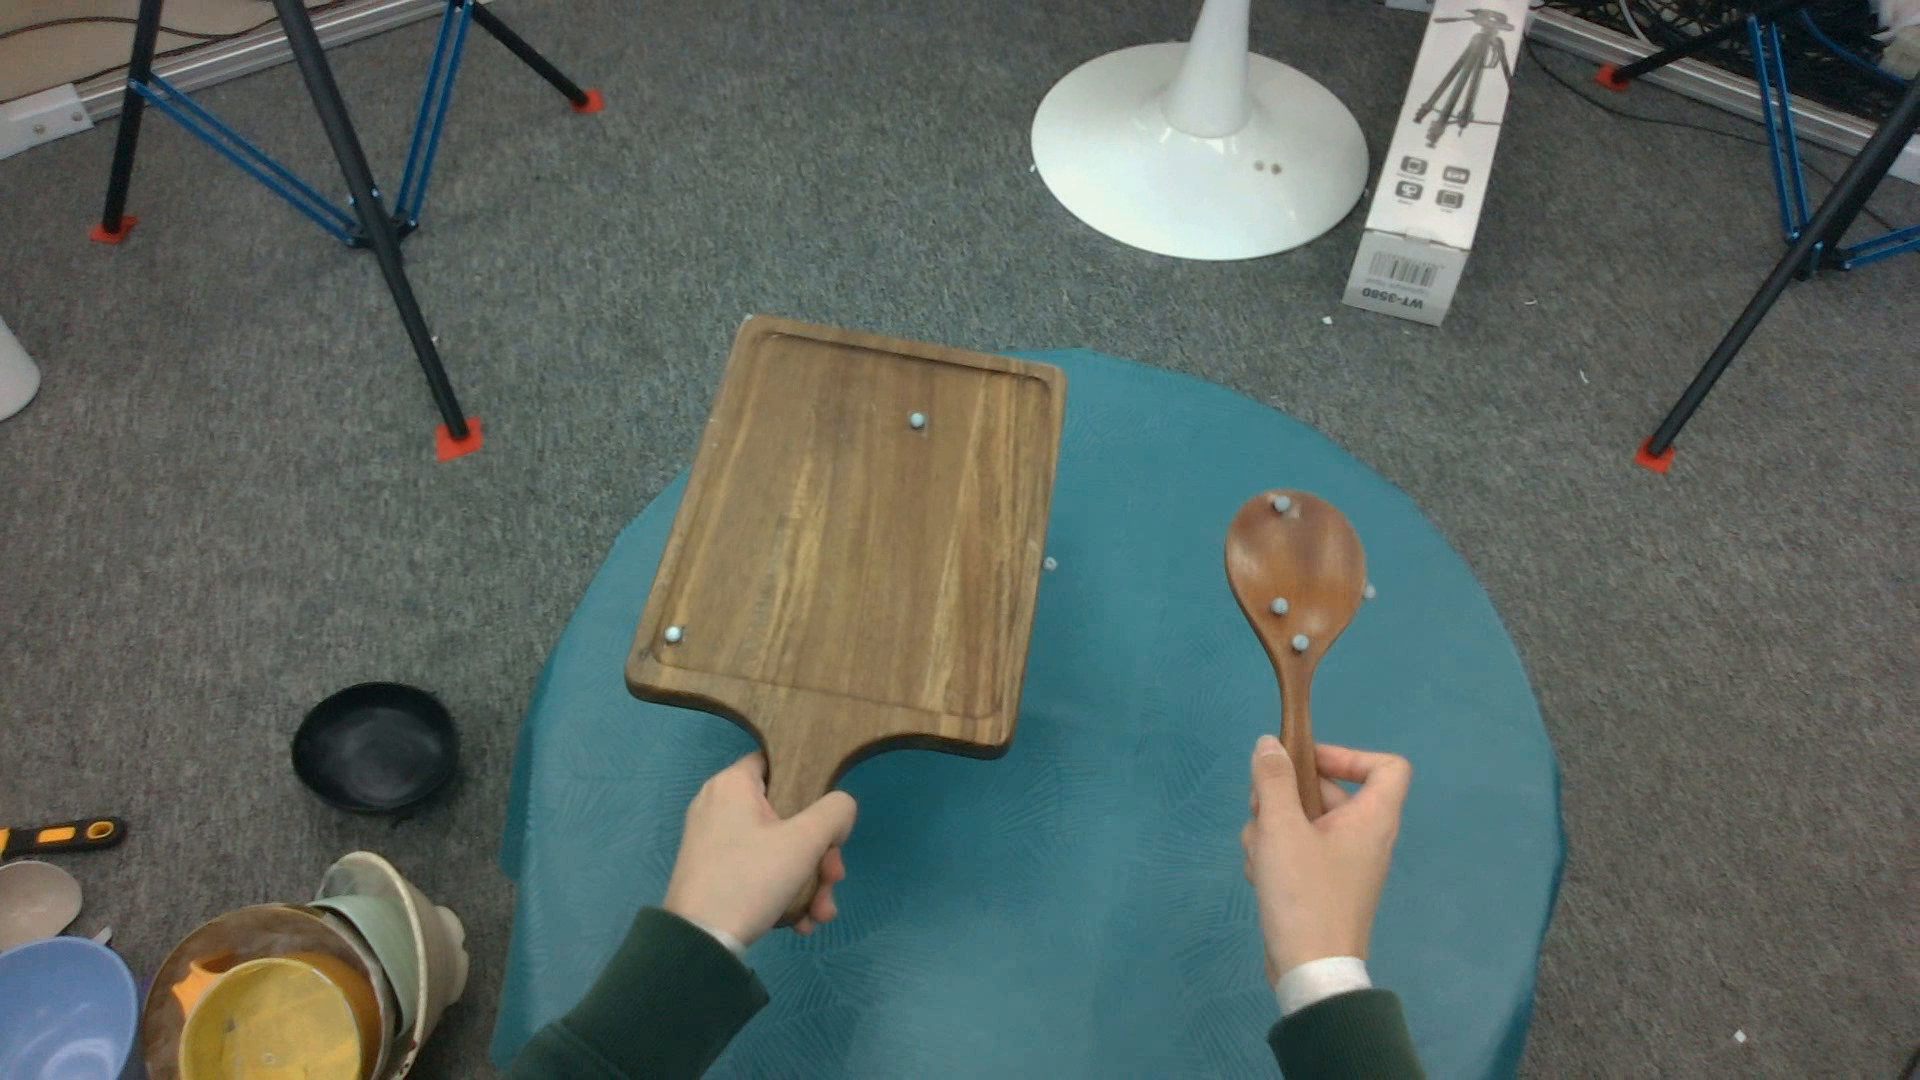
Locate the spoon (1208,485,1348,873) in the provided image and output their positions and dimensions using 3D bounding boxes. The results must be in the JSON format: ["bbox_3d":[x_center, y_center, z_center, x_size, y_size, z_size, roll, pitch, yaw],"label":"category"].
[{"bbox_3d":[0.157,0.061,0.680,0.075,0.017,0.217,10,54,-4],"label":"spoon"}]

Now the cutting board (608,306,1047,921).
[{"bbox_3d":[-0.068,0.024,0.718,0.201,0.023,0.354,10,56,0],"label":"cutting board"}]
